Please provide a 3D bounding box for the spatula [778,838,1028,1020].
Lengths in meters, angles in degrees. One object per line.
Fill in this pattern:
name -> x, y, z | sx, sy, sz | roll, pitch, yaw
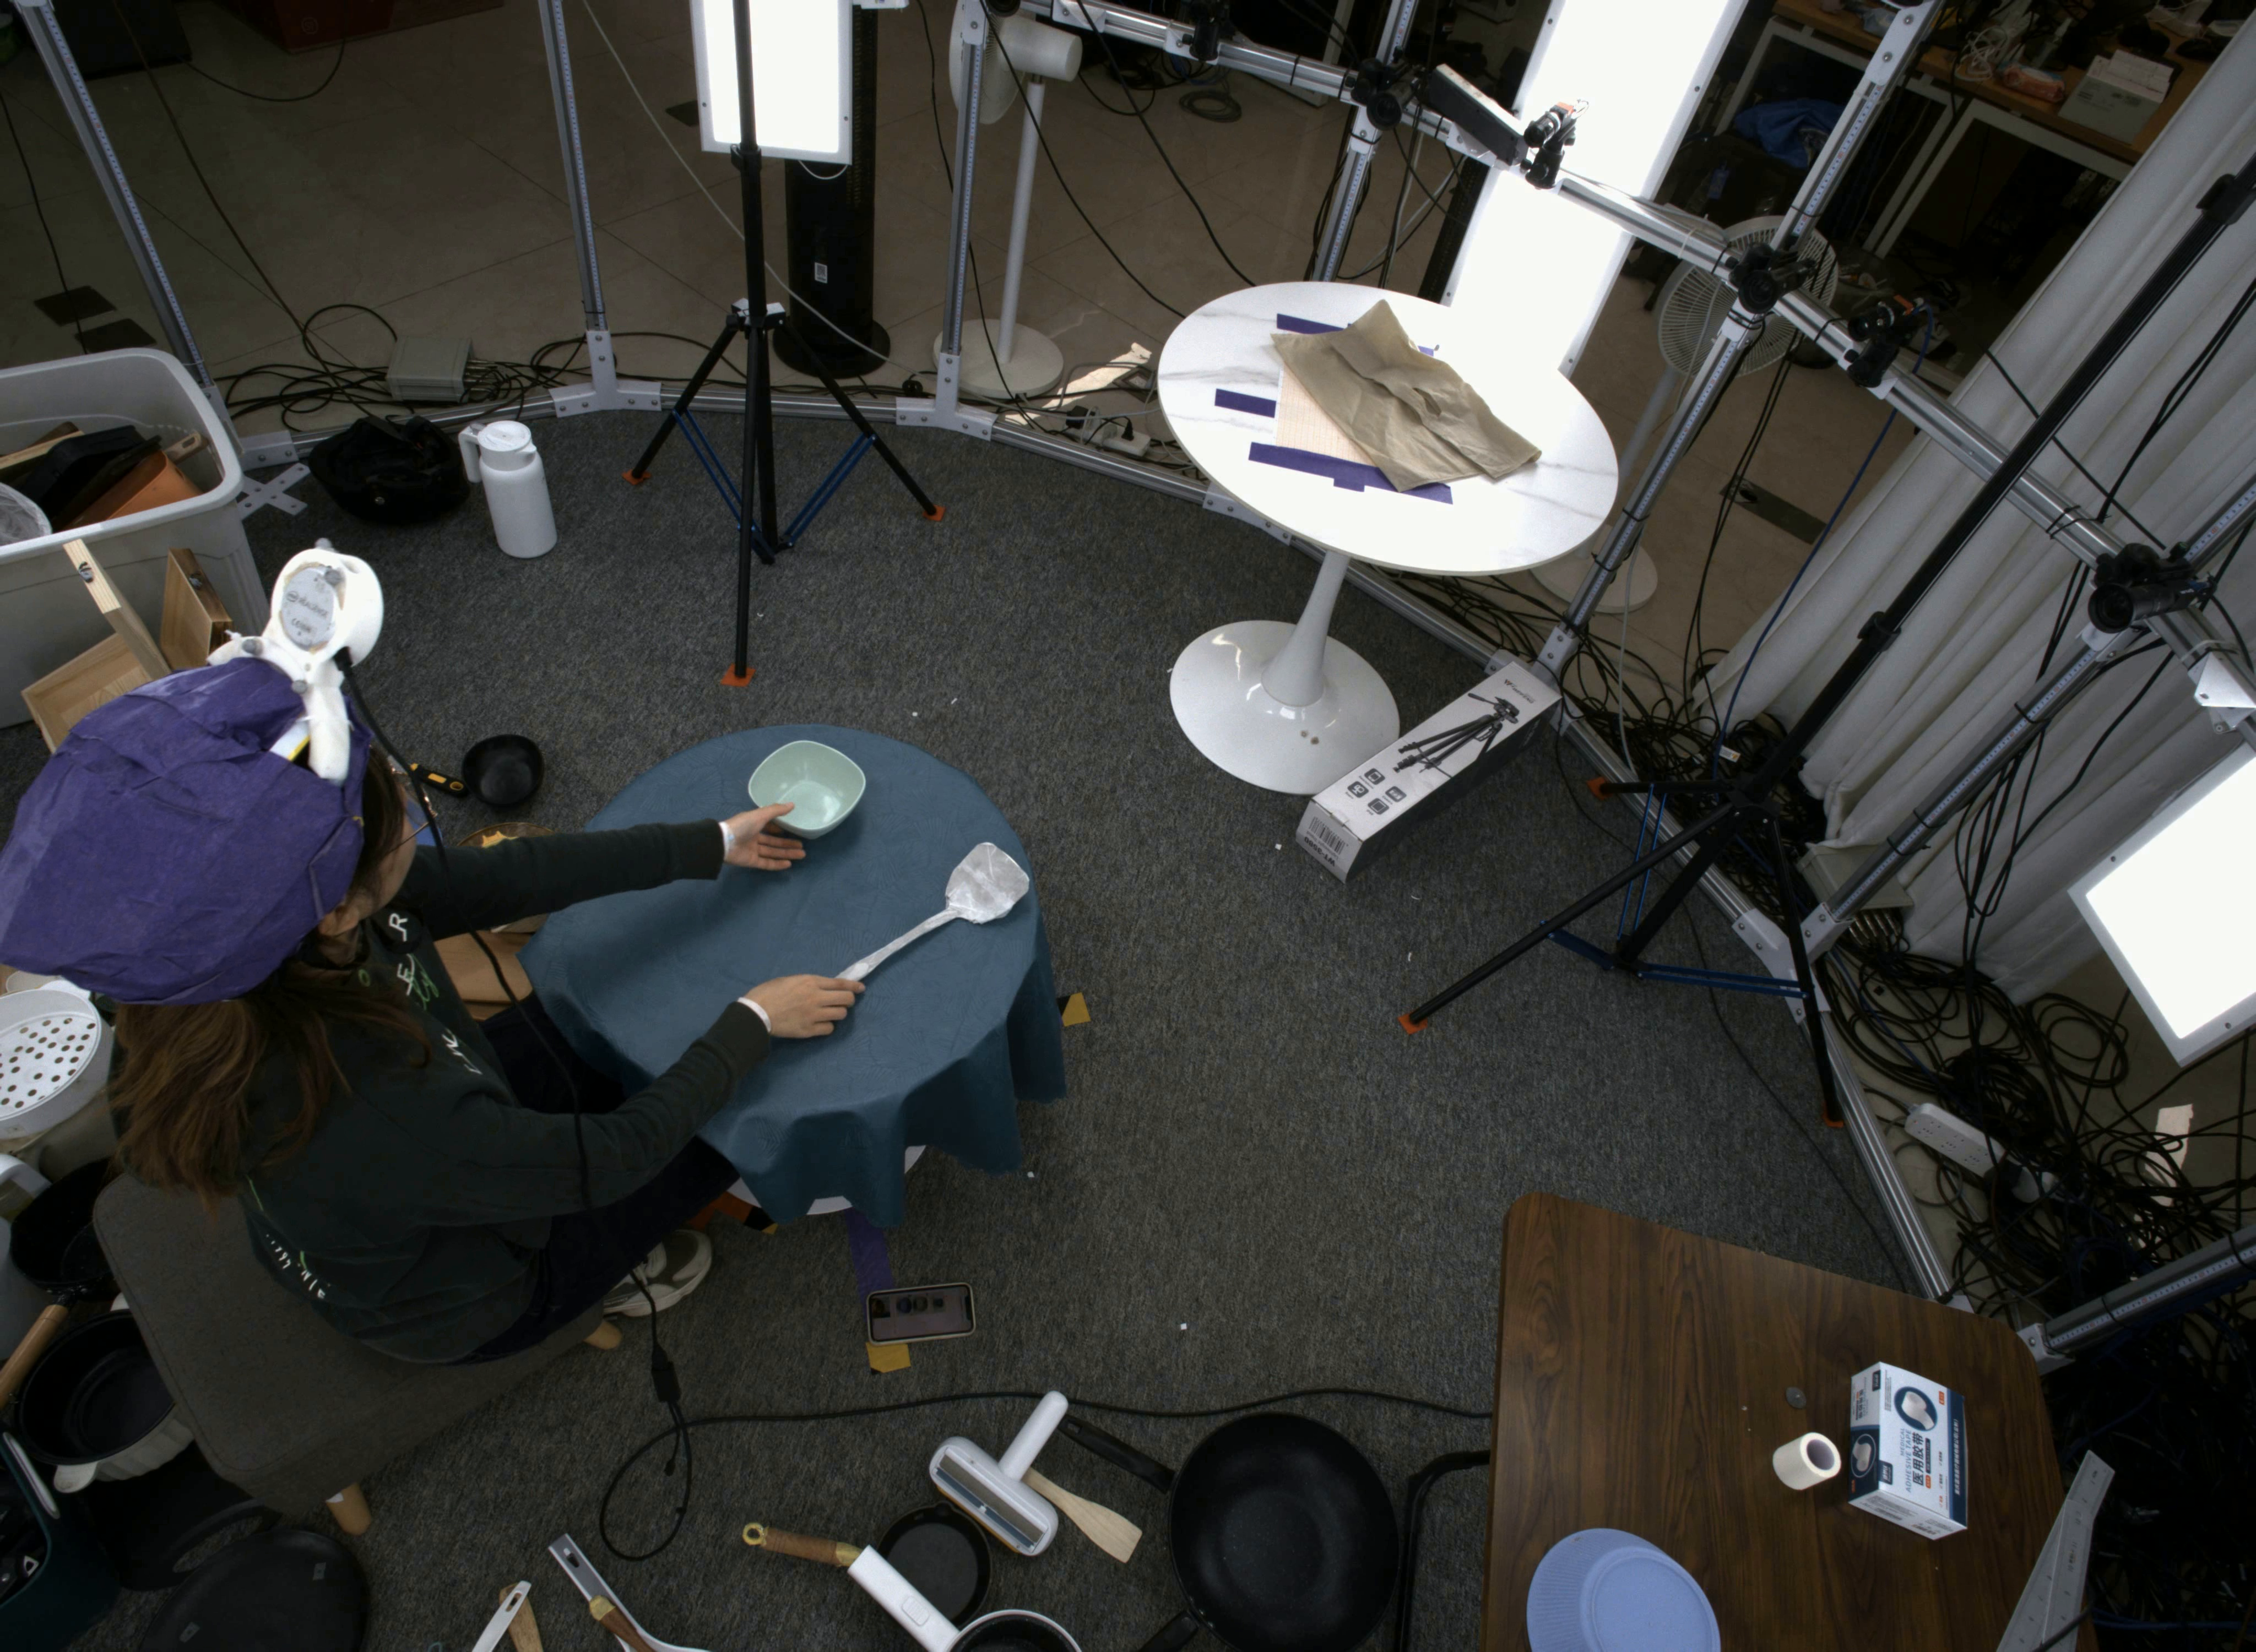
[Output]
spatula -> -0.283, 0.136, 1.639 | 0.366, 0.045, 0.096 | -34, 69, -32

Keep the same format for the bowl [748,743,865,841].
bowl -> -0.425, -0.037, 1.721 | 0.151, 0.060, 0.148 | 7, 50, -7
